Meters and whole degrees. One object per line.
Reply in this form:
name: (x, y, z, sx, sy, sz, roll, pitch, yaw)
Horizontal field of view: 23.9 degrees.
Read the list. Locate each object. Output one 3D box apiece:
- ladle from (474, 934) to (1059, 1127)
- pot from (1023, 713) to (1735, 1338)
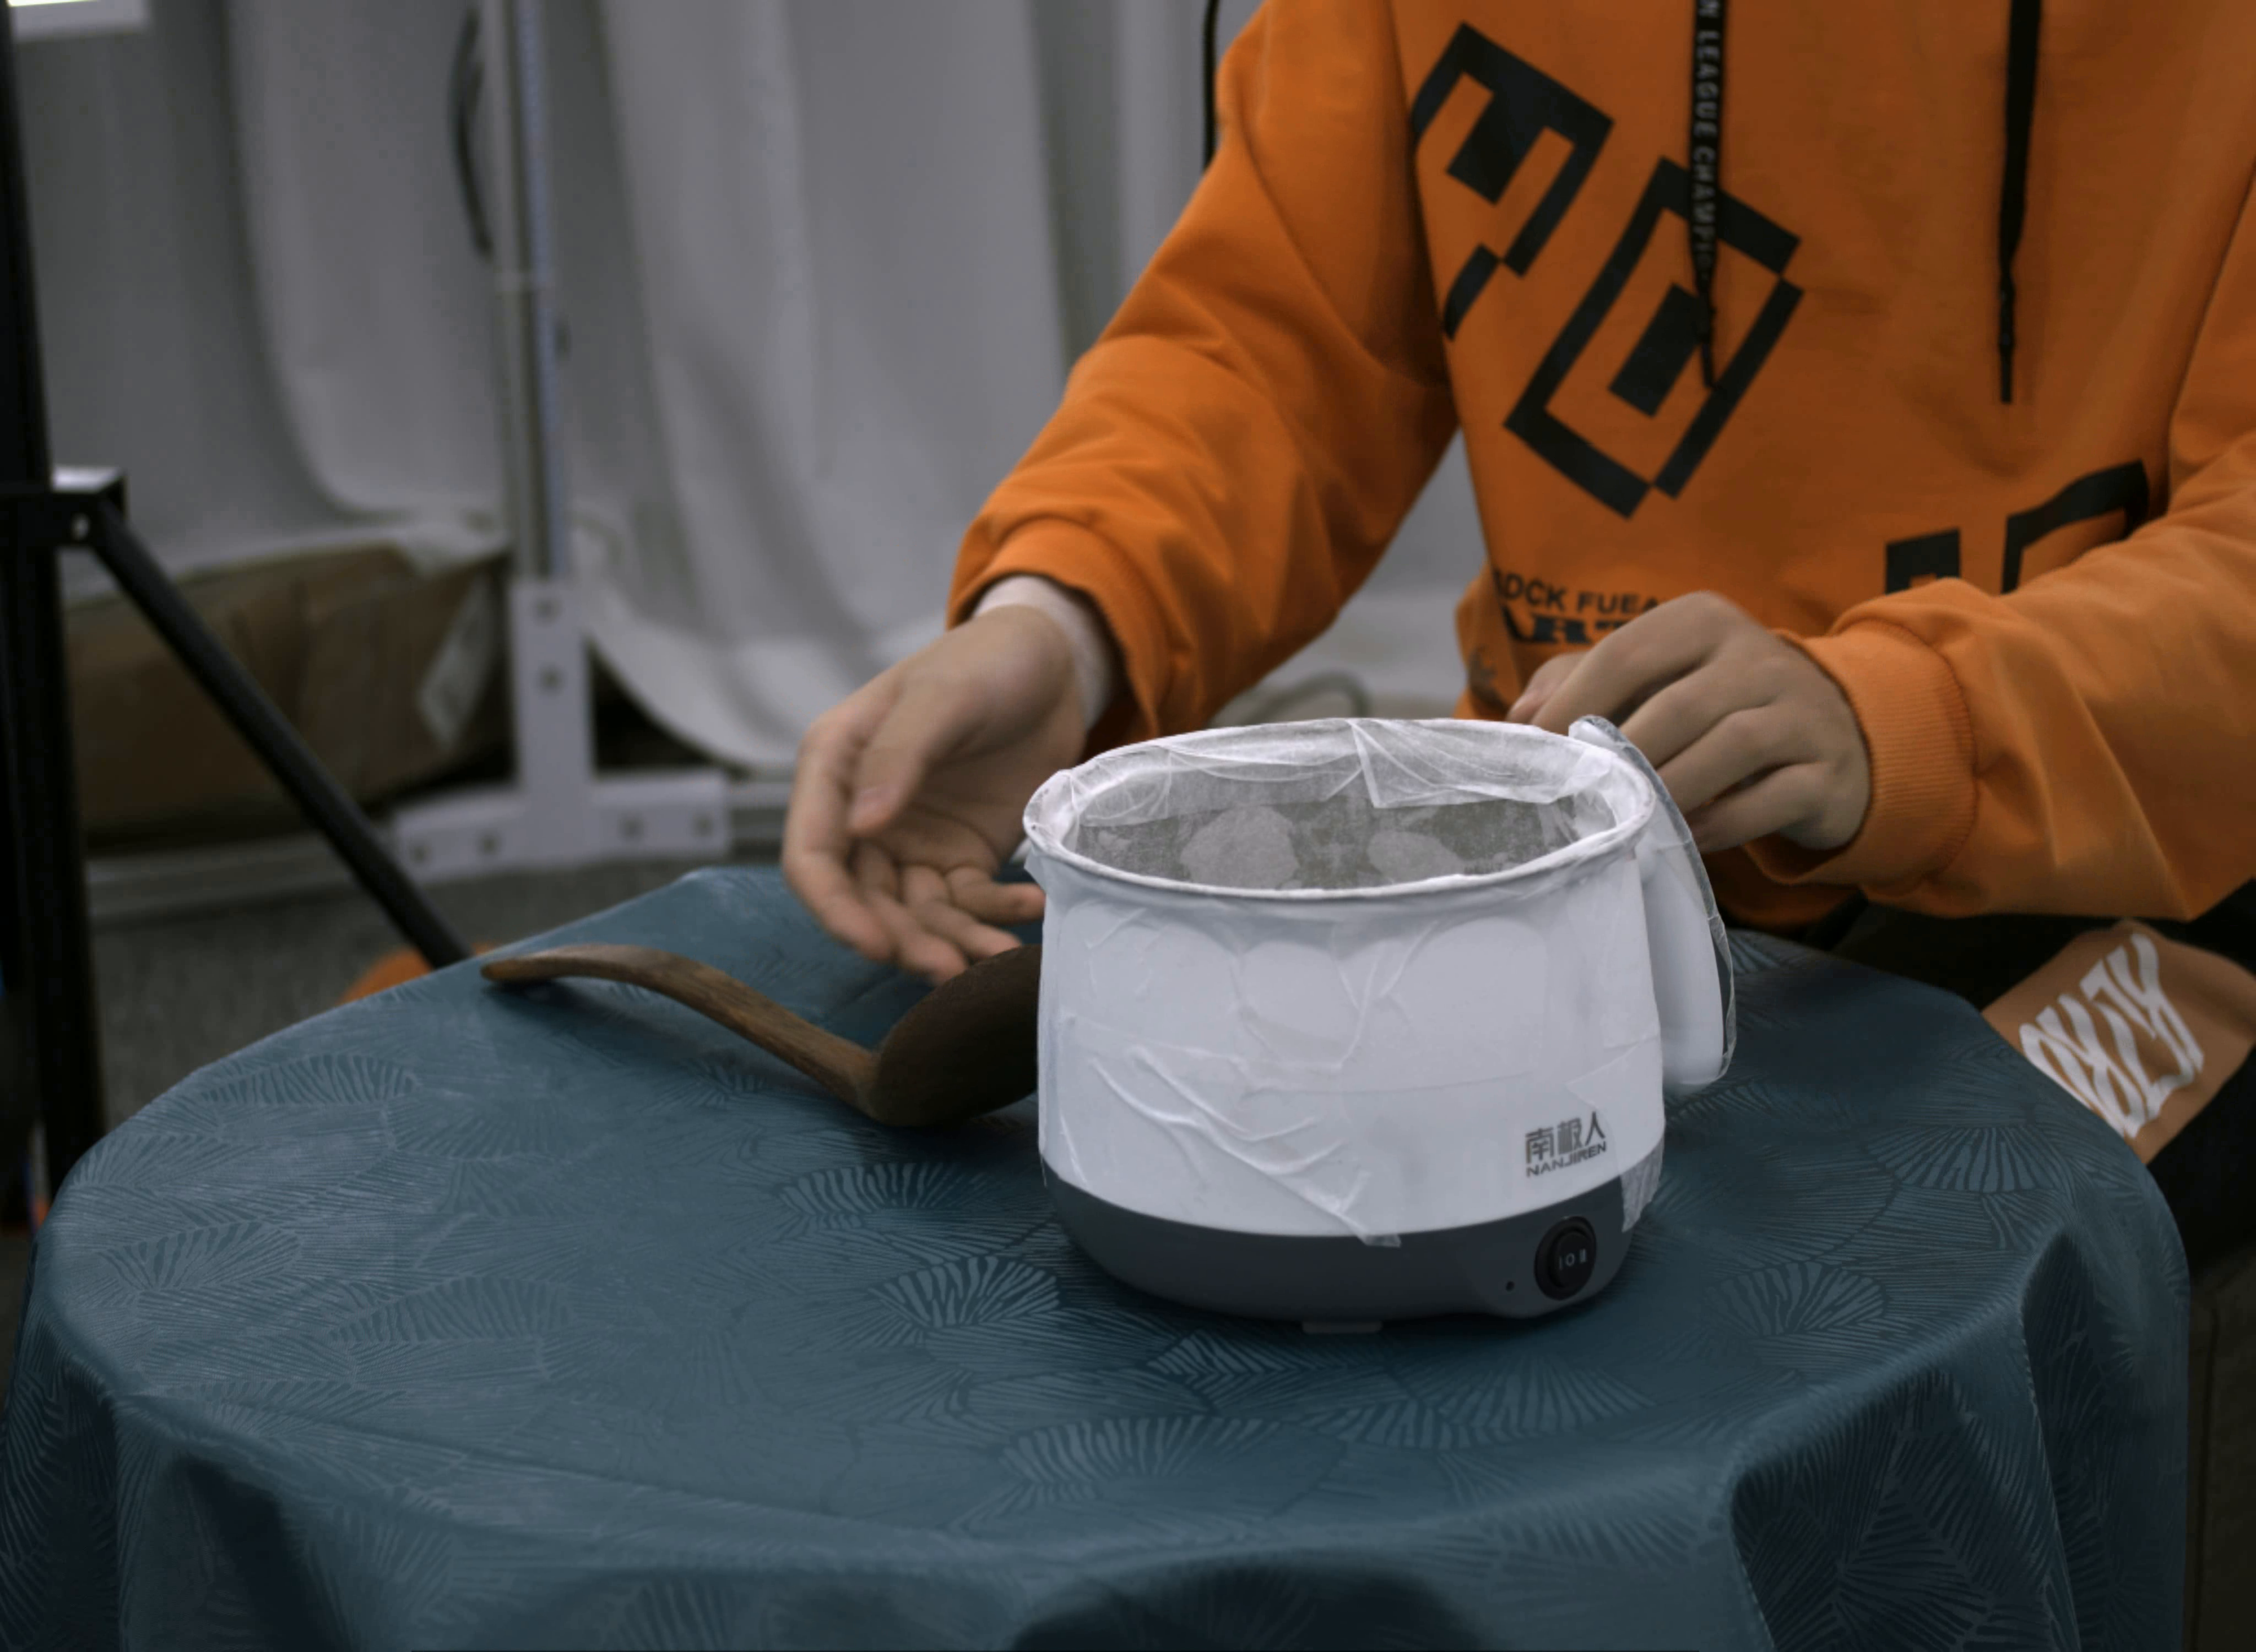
ladle: (-0.118, 0.042, 1.681, 0.074, 0.071, 0.280, -5, 14, -40)
pot: (0.082, 0.048, 1.503, 0.228, 0.136, 0.183, -16, 21, -38)
